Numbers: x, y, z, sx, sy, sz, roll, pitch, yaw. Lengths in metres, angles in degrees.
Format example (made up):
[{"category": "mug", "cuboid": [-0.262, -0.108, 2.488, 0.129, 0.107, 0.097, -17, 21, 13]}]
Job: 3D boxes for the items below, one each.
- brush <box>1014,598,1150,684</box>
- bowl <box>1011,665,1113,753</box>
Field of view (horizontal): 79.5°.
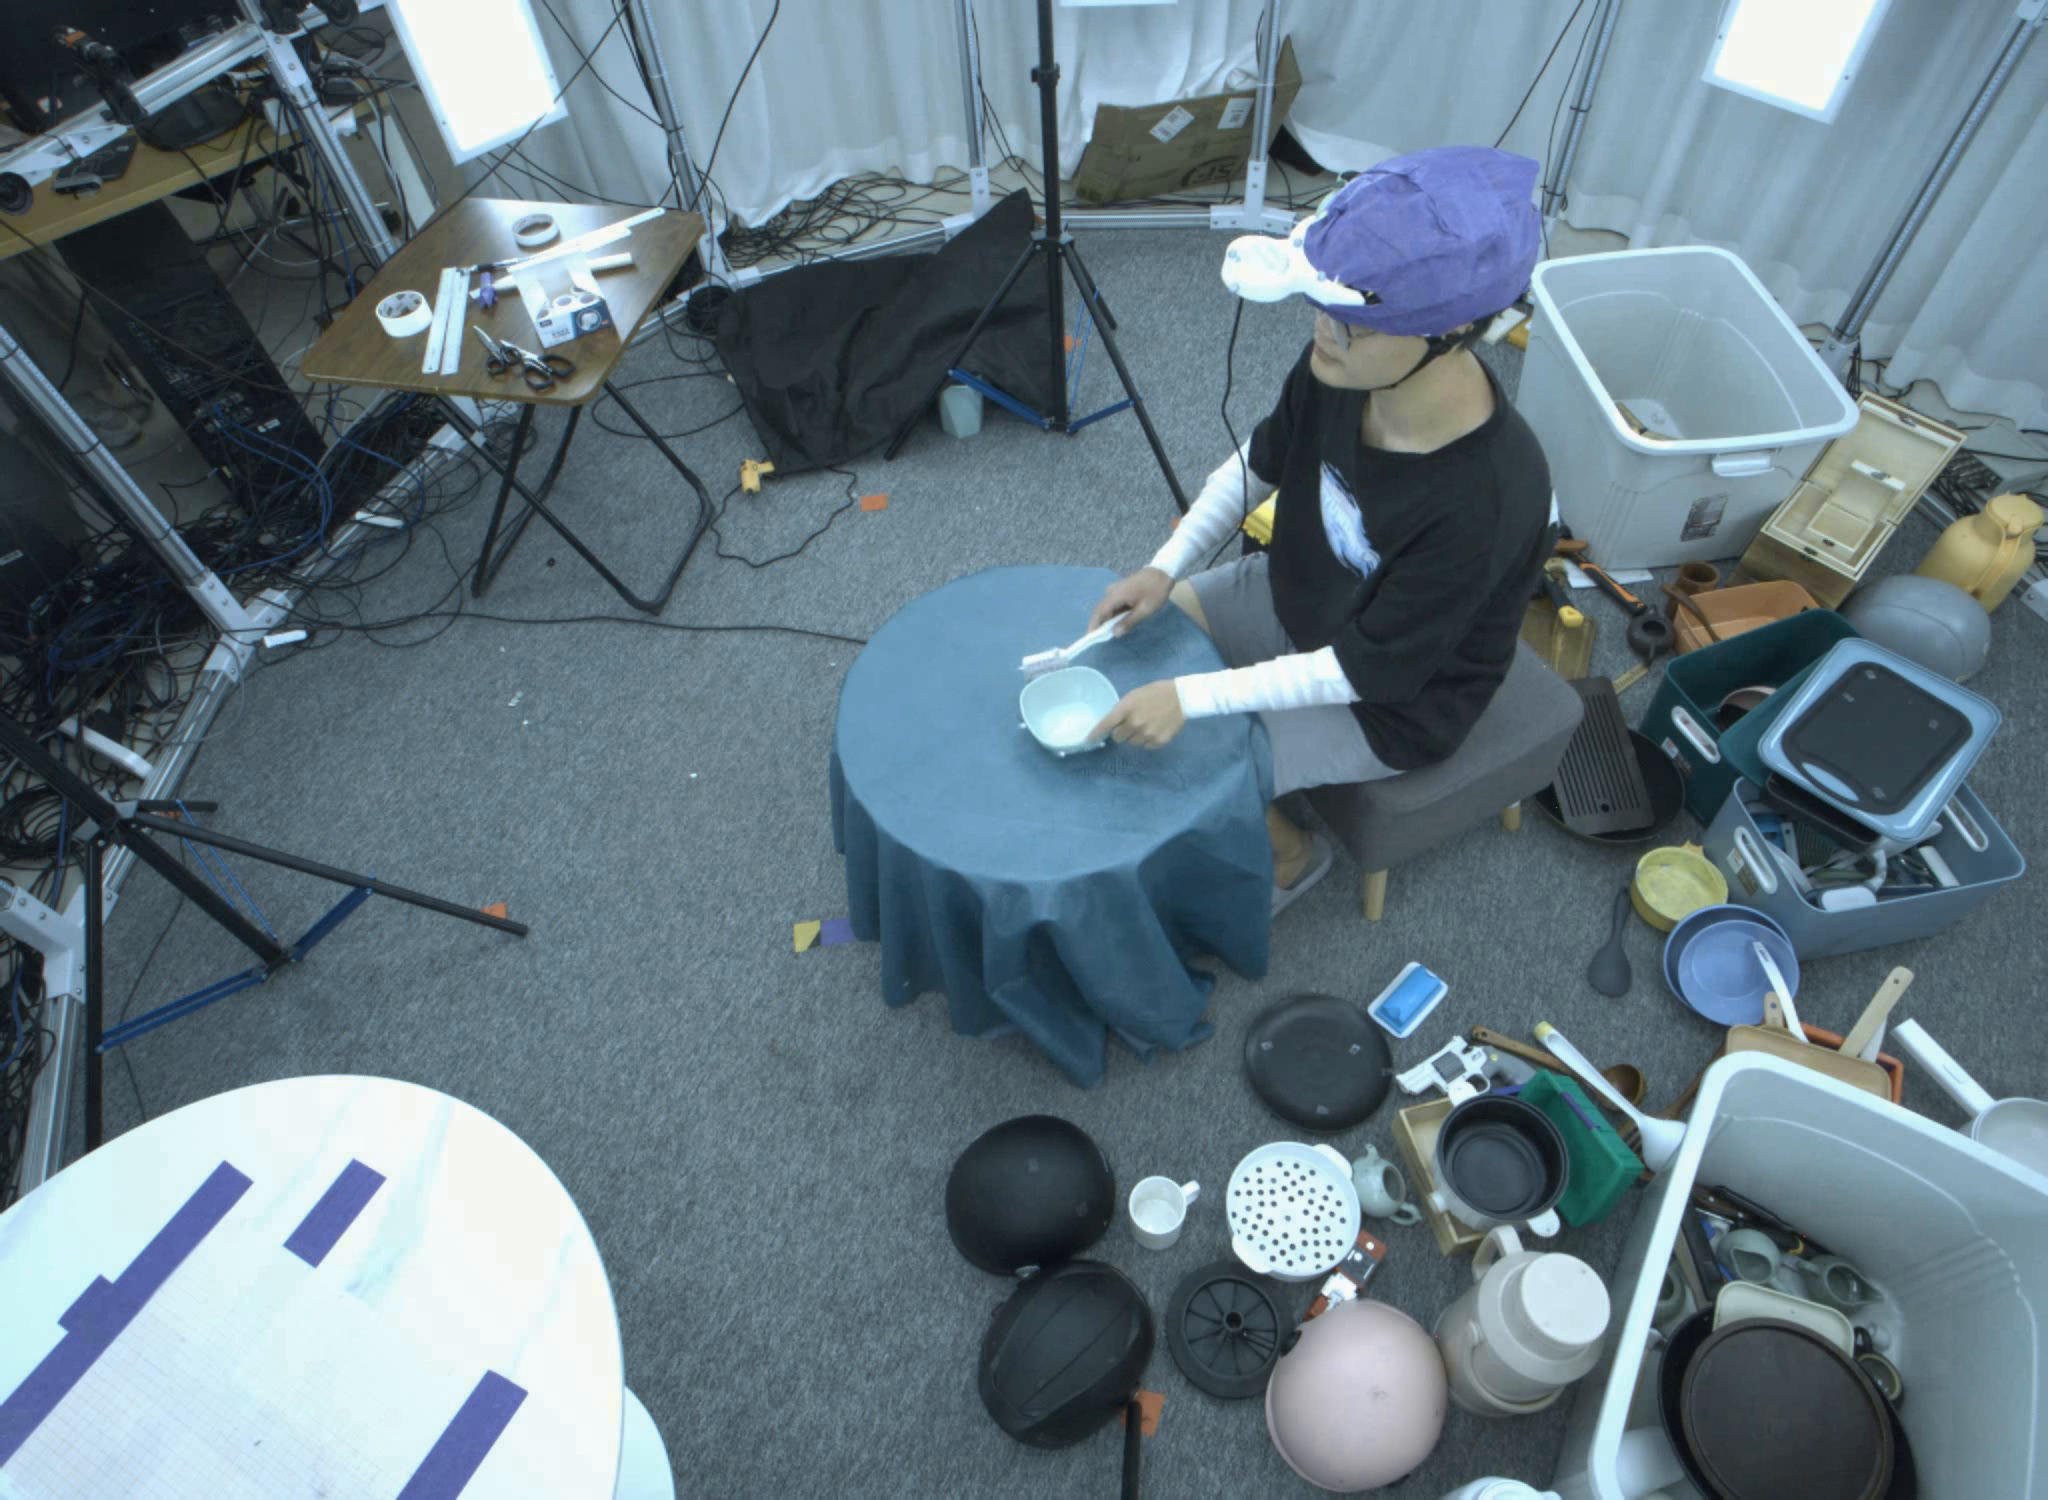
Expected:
[{"category": "brush", "cuboid": [0.092, -0.162, 1.832, 0.245, 0.035, 0.049, -26, 52, -15]}, {"category": "bowl", "cuboid": [0.055, -0.049, 1.780, 0.151, 0.059, 0.150, 1, 55, 0]}]
